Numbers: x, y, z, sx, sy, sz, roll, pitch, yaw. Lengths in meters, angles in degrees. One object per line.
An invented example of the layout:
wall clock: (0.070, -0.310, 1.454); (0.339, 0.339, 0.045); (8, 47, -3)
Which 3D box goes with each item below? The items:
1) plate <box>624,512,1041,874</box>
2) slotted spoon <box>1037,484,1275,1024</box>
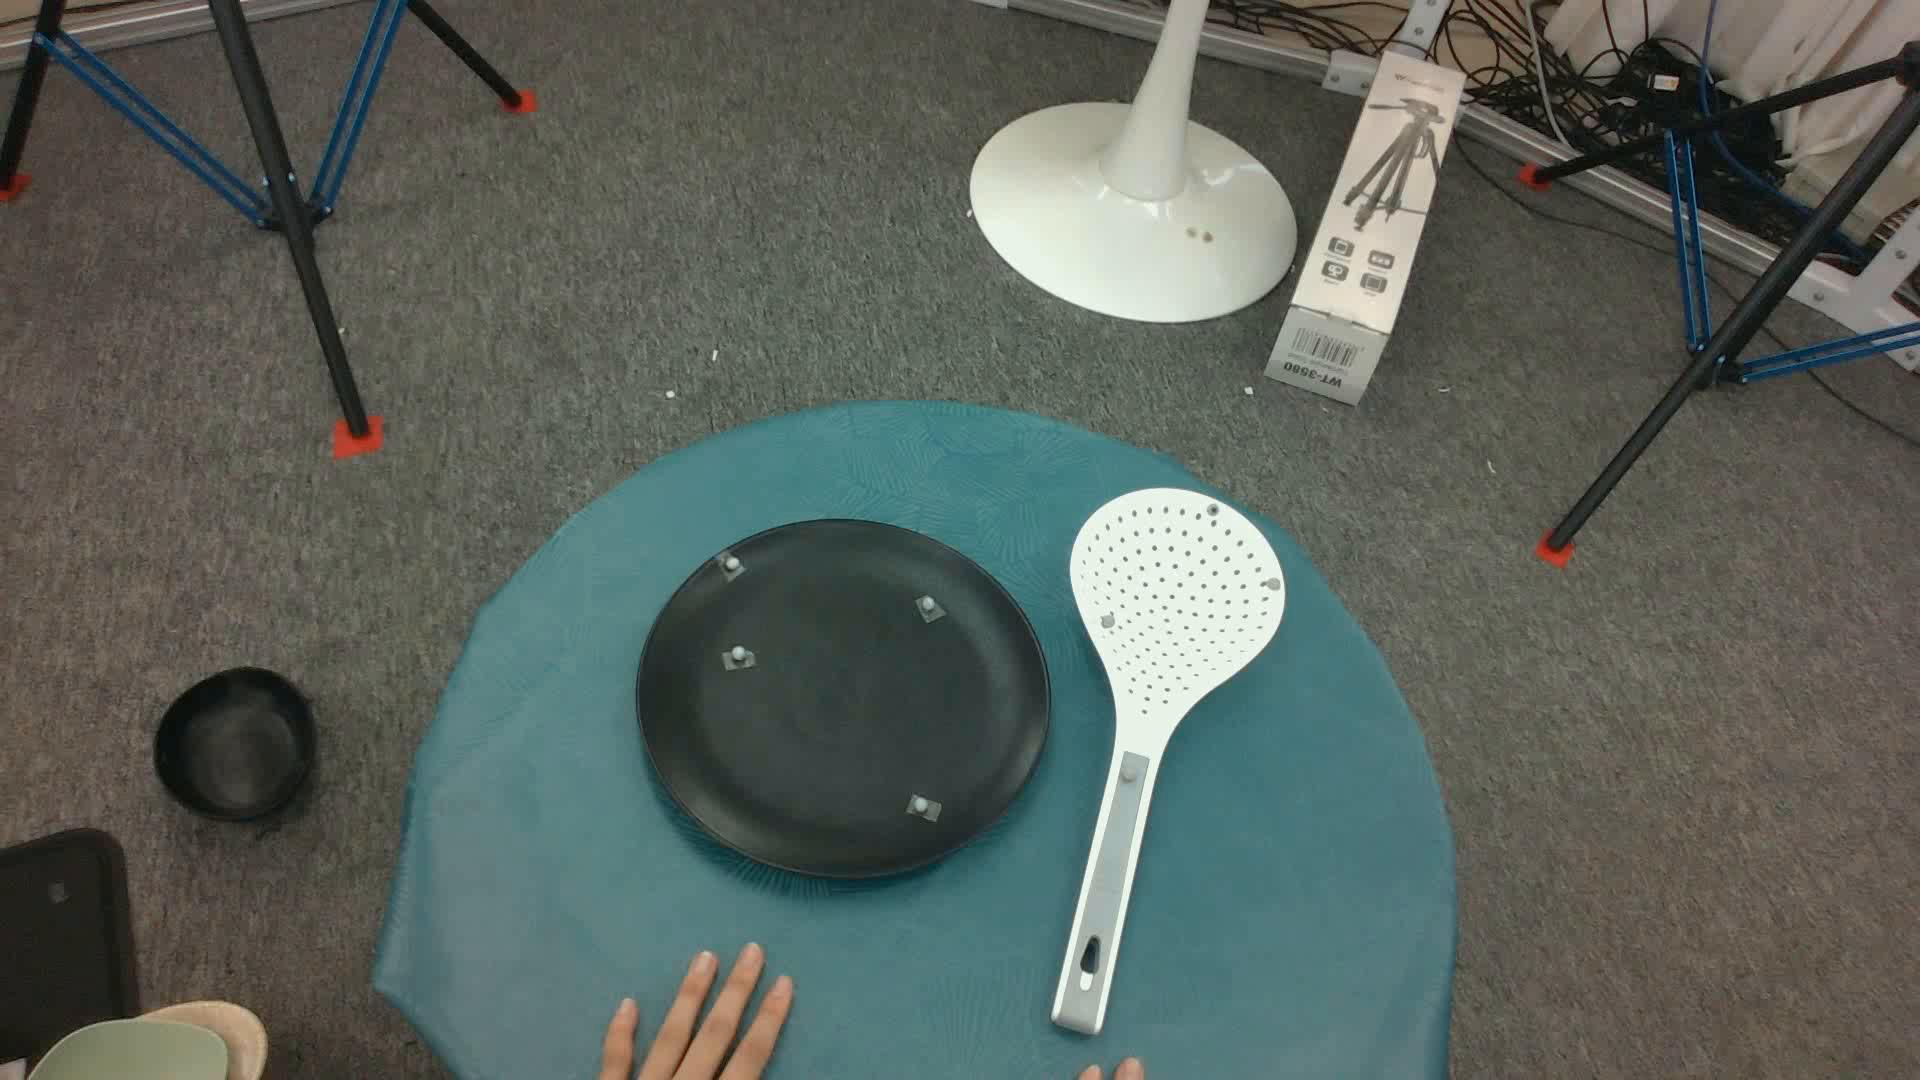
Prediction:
plate: (-0.073, 0.085, 0.814); (0.244, 0.023, 0.245); (5, 52, -7)
slotted spoon: (0.101, 0.110, 0.812); (0.136, 0.045, 0.351); (16, 52, 5)
